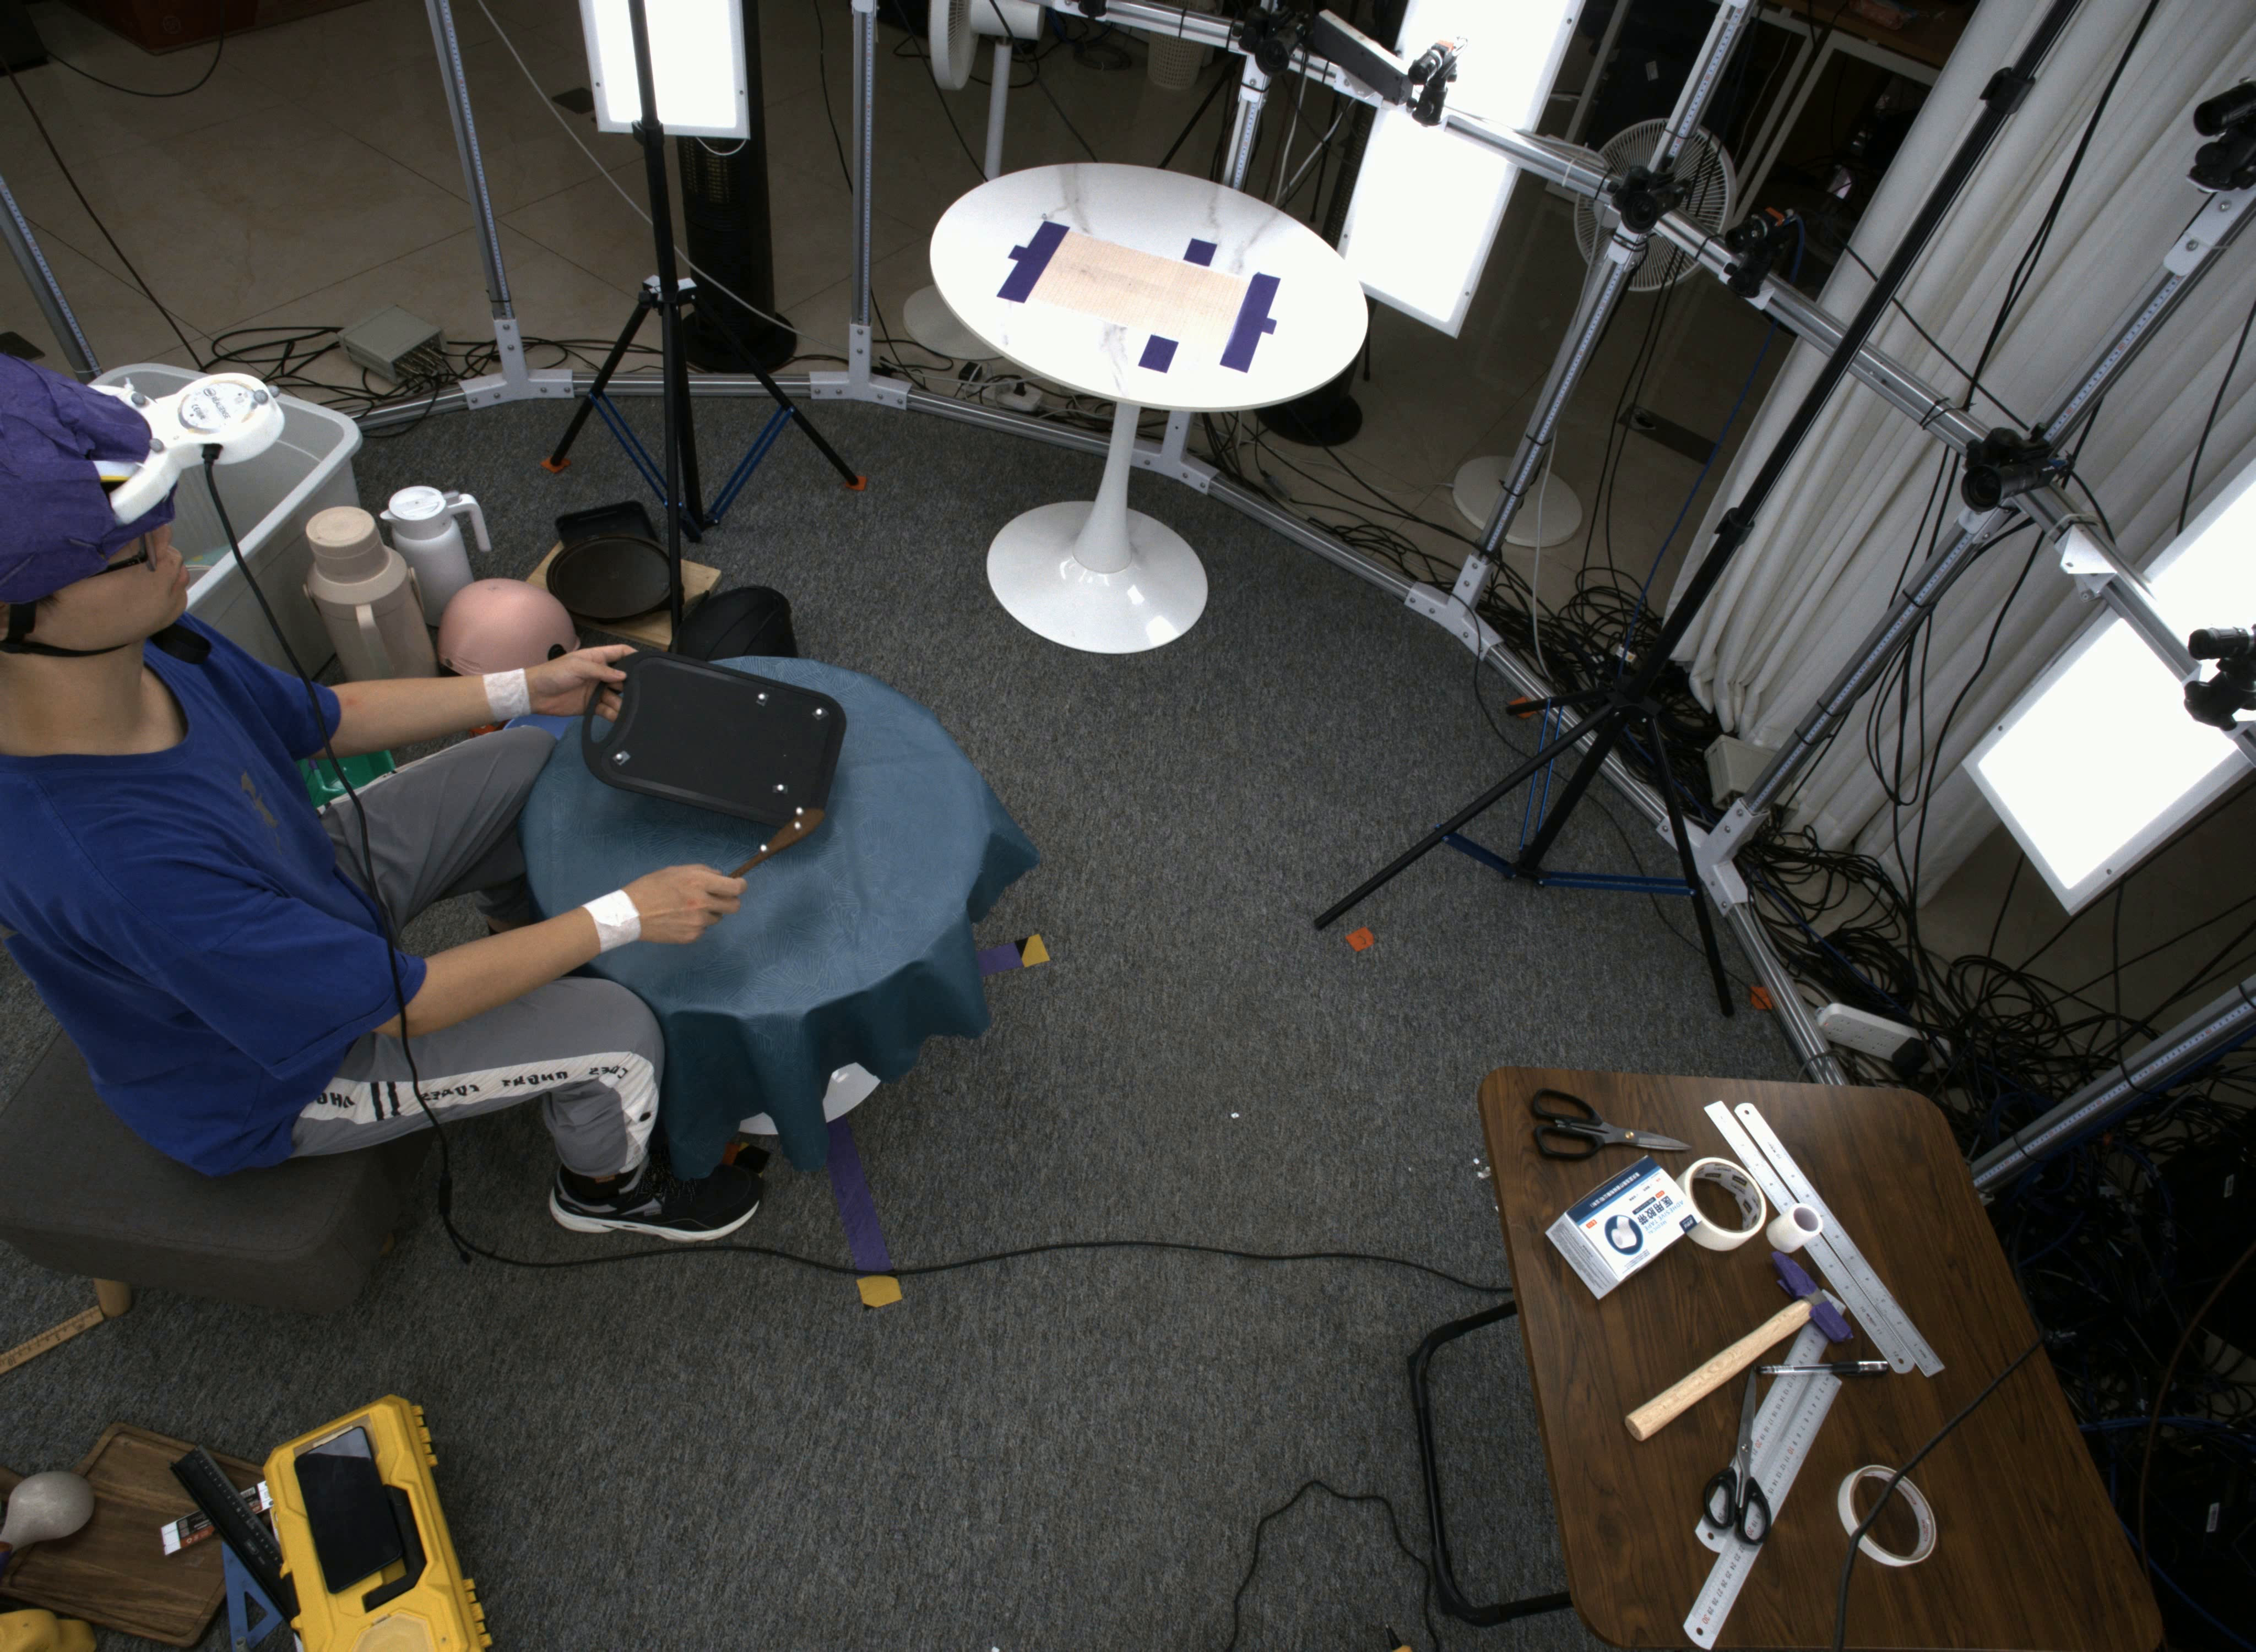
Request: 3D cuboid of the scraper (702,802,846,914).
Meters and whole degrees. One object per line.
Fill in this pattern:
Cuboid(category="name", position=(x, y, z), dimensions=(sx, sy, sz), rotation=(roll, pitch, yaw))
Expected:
Cuboid(category="scraper", position=(-0.429, 0.037, 1.569), dimensions=(0.211, 0.073, 0.011), rotation=(-41, 114, -24))

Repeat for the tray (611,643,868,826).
Cuboid(category="tray", position=(-0.514, -0.125, 1.689), dimensions=(0.327, 0.010, 0.209), rotation=(16, 64, -14))
